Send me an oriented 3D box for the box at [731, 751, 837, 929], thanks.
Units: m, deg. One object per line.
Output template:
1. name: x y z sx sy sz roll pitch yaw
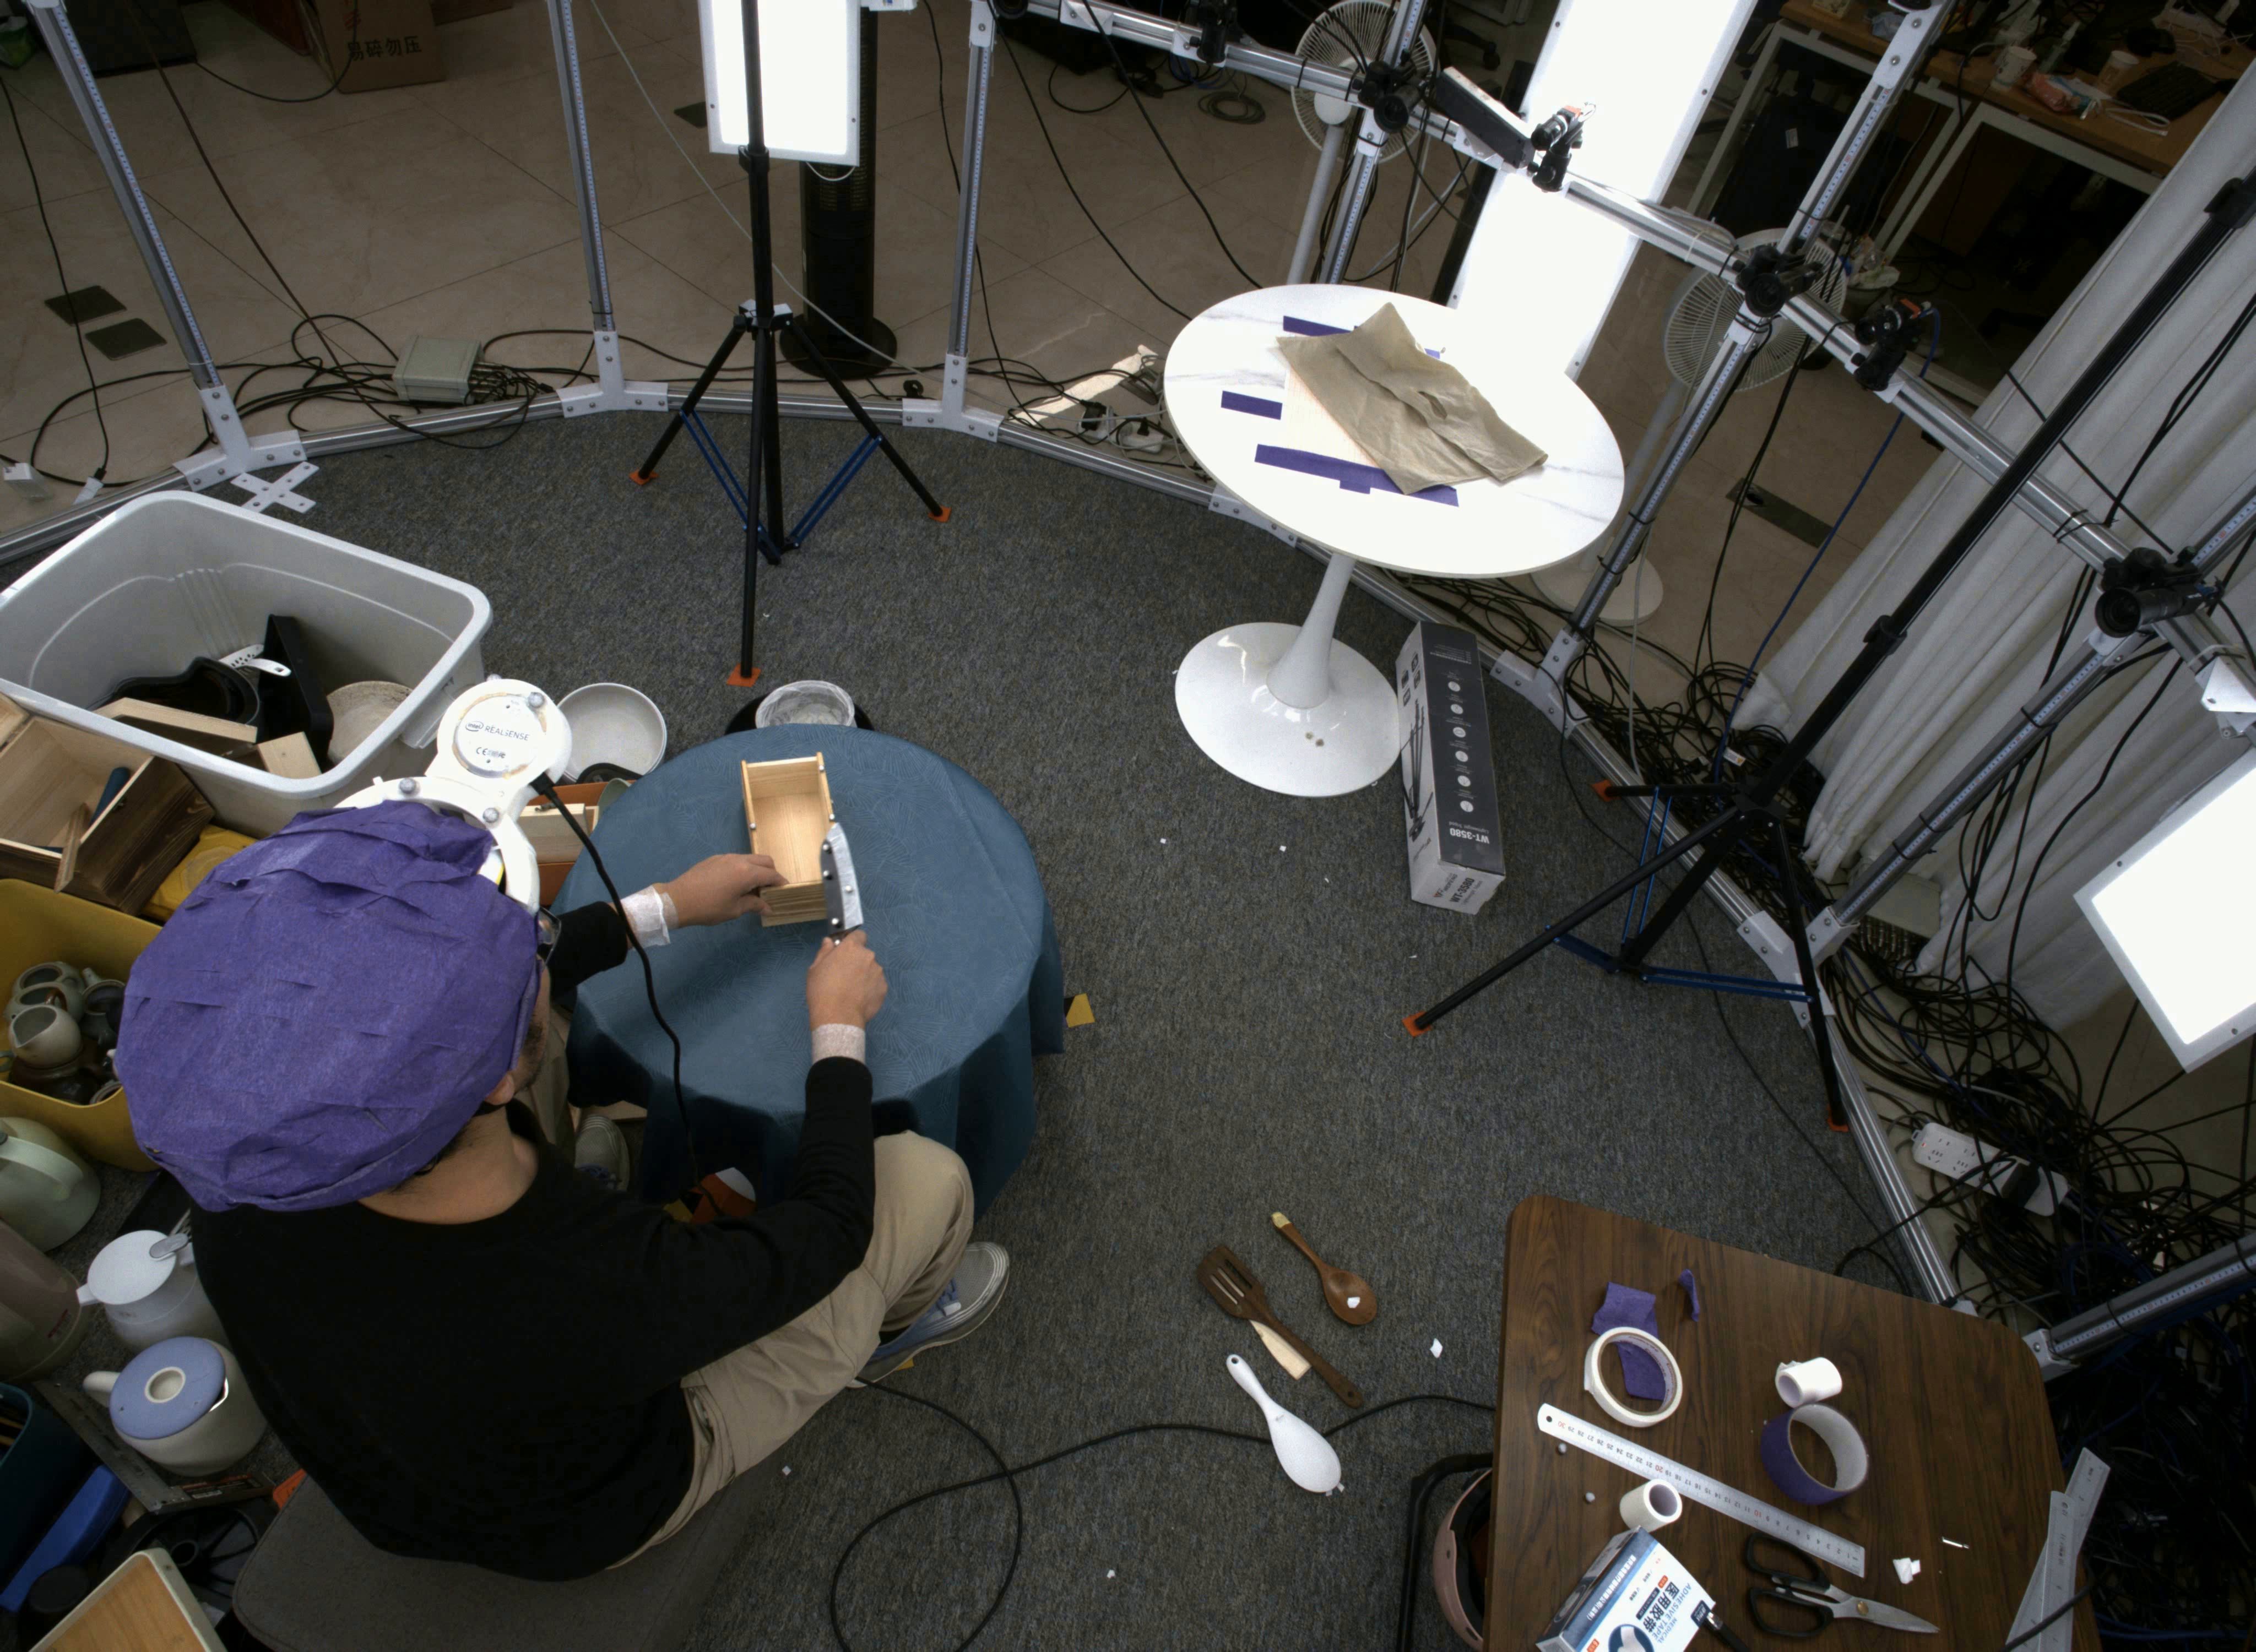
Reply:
1. box: -0.438 0.015 1.653 0.108 0.082 0.206 -8 56 -19

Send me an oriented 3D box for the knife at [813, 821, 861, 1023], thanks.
1. knife: -0.344 0.105 1.542 0.049 0.021 0.282 -20 54 7
